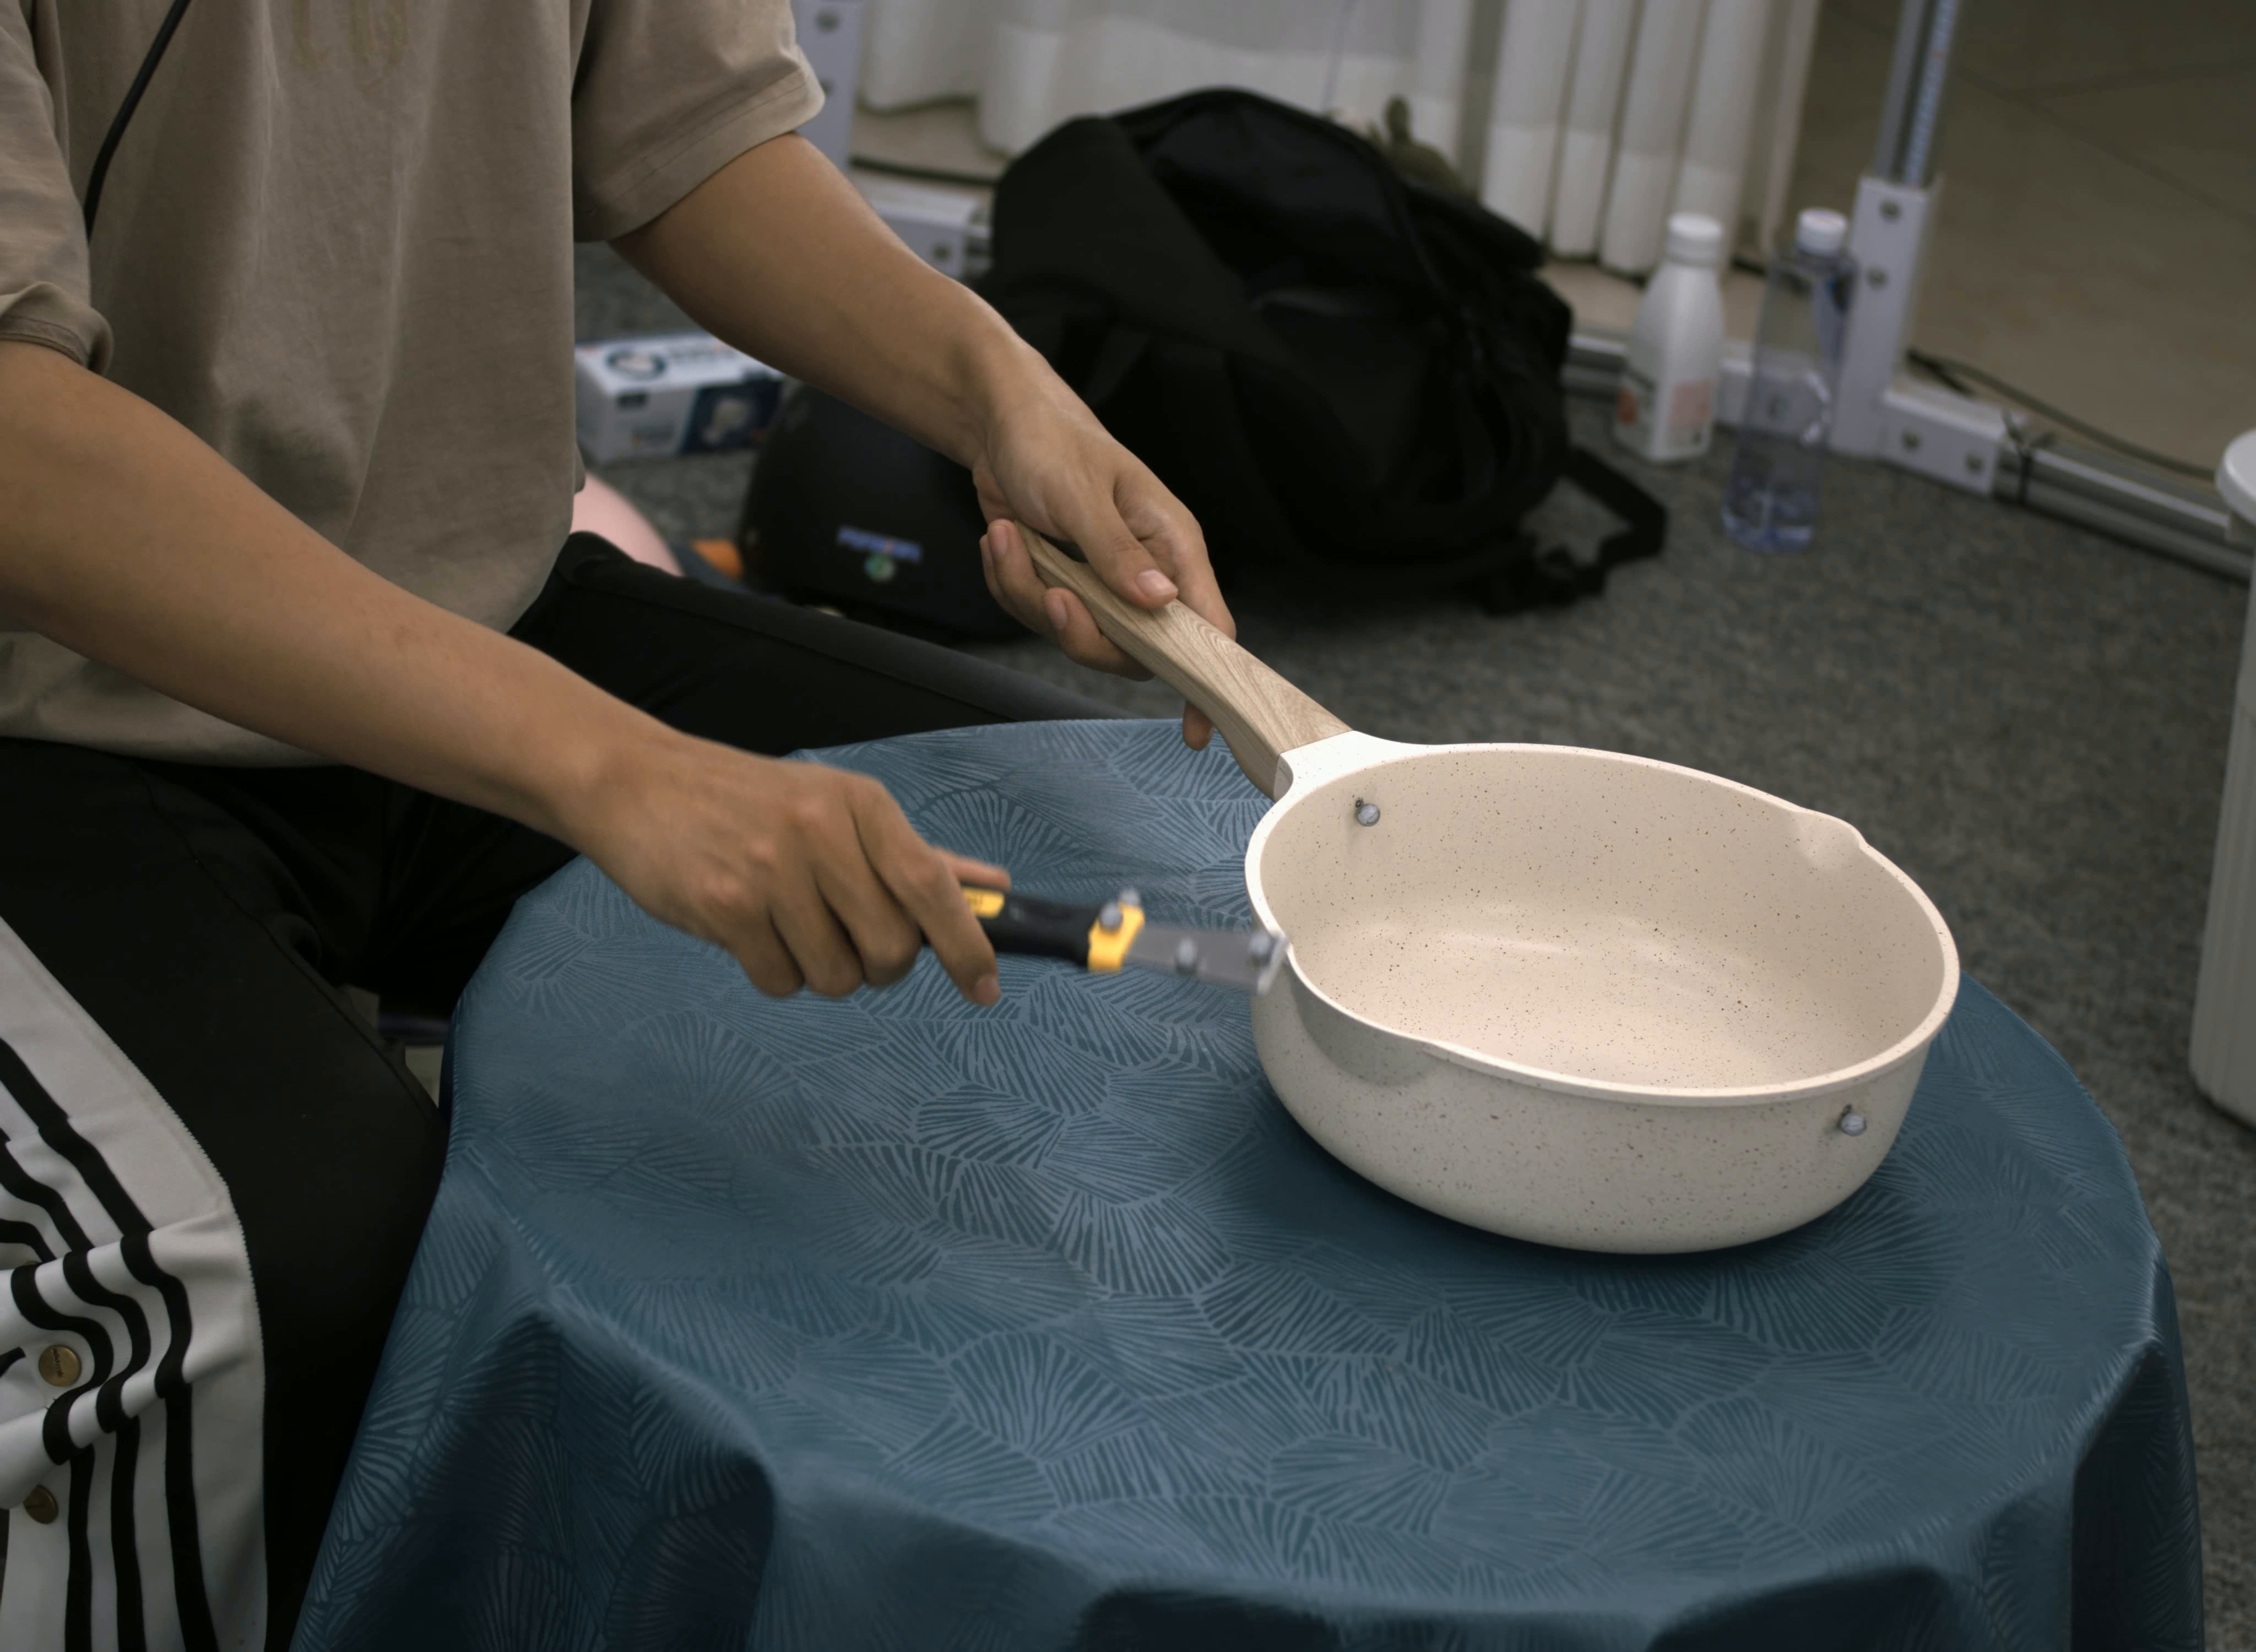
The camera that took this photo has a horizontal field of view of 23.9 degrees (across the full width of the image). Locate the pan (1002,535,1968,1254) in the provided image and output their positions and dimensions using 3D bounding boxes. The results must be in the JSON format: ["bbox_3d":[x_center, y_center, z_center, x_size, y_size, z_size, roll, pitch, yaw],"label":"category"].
[{"bbox_3d":[0.103,0.020,1.929,0.262,0.101,0.438,-20,37,-38],"label":"pan"}]

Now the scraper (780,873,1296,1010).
[{"bbox_3d":[-0.031,0.037,1.730,0.171,0.015,0.039,7,39,14],"label":"scraper"}]
